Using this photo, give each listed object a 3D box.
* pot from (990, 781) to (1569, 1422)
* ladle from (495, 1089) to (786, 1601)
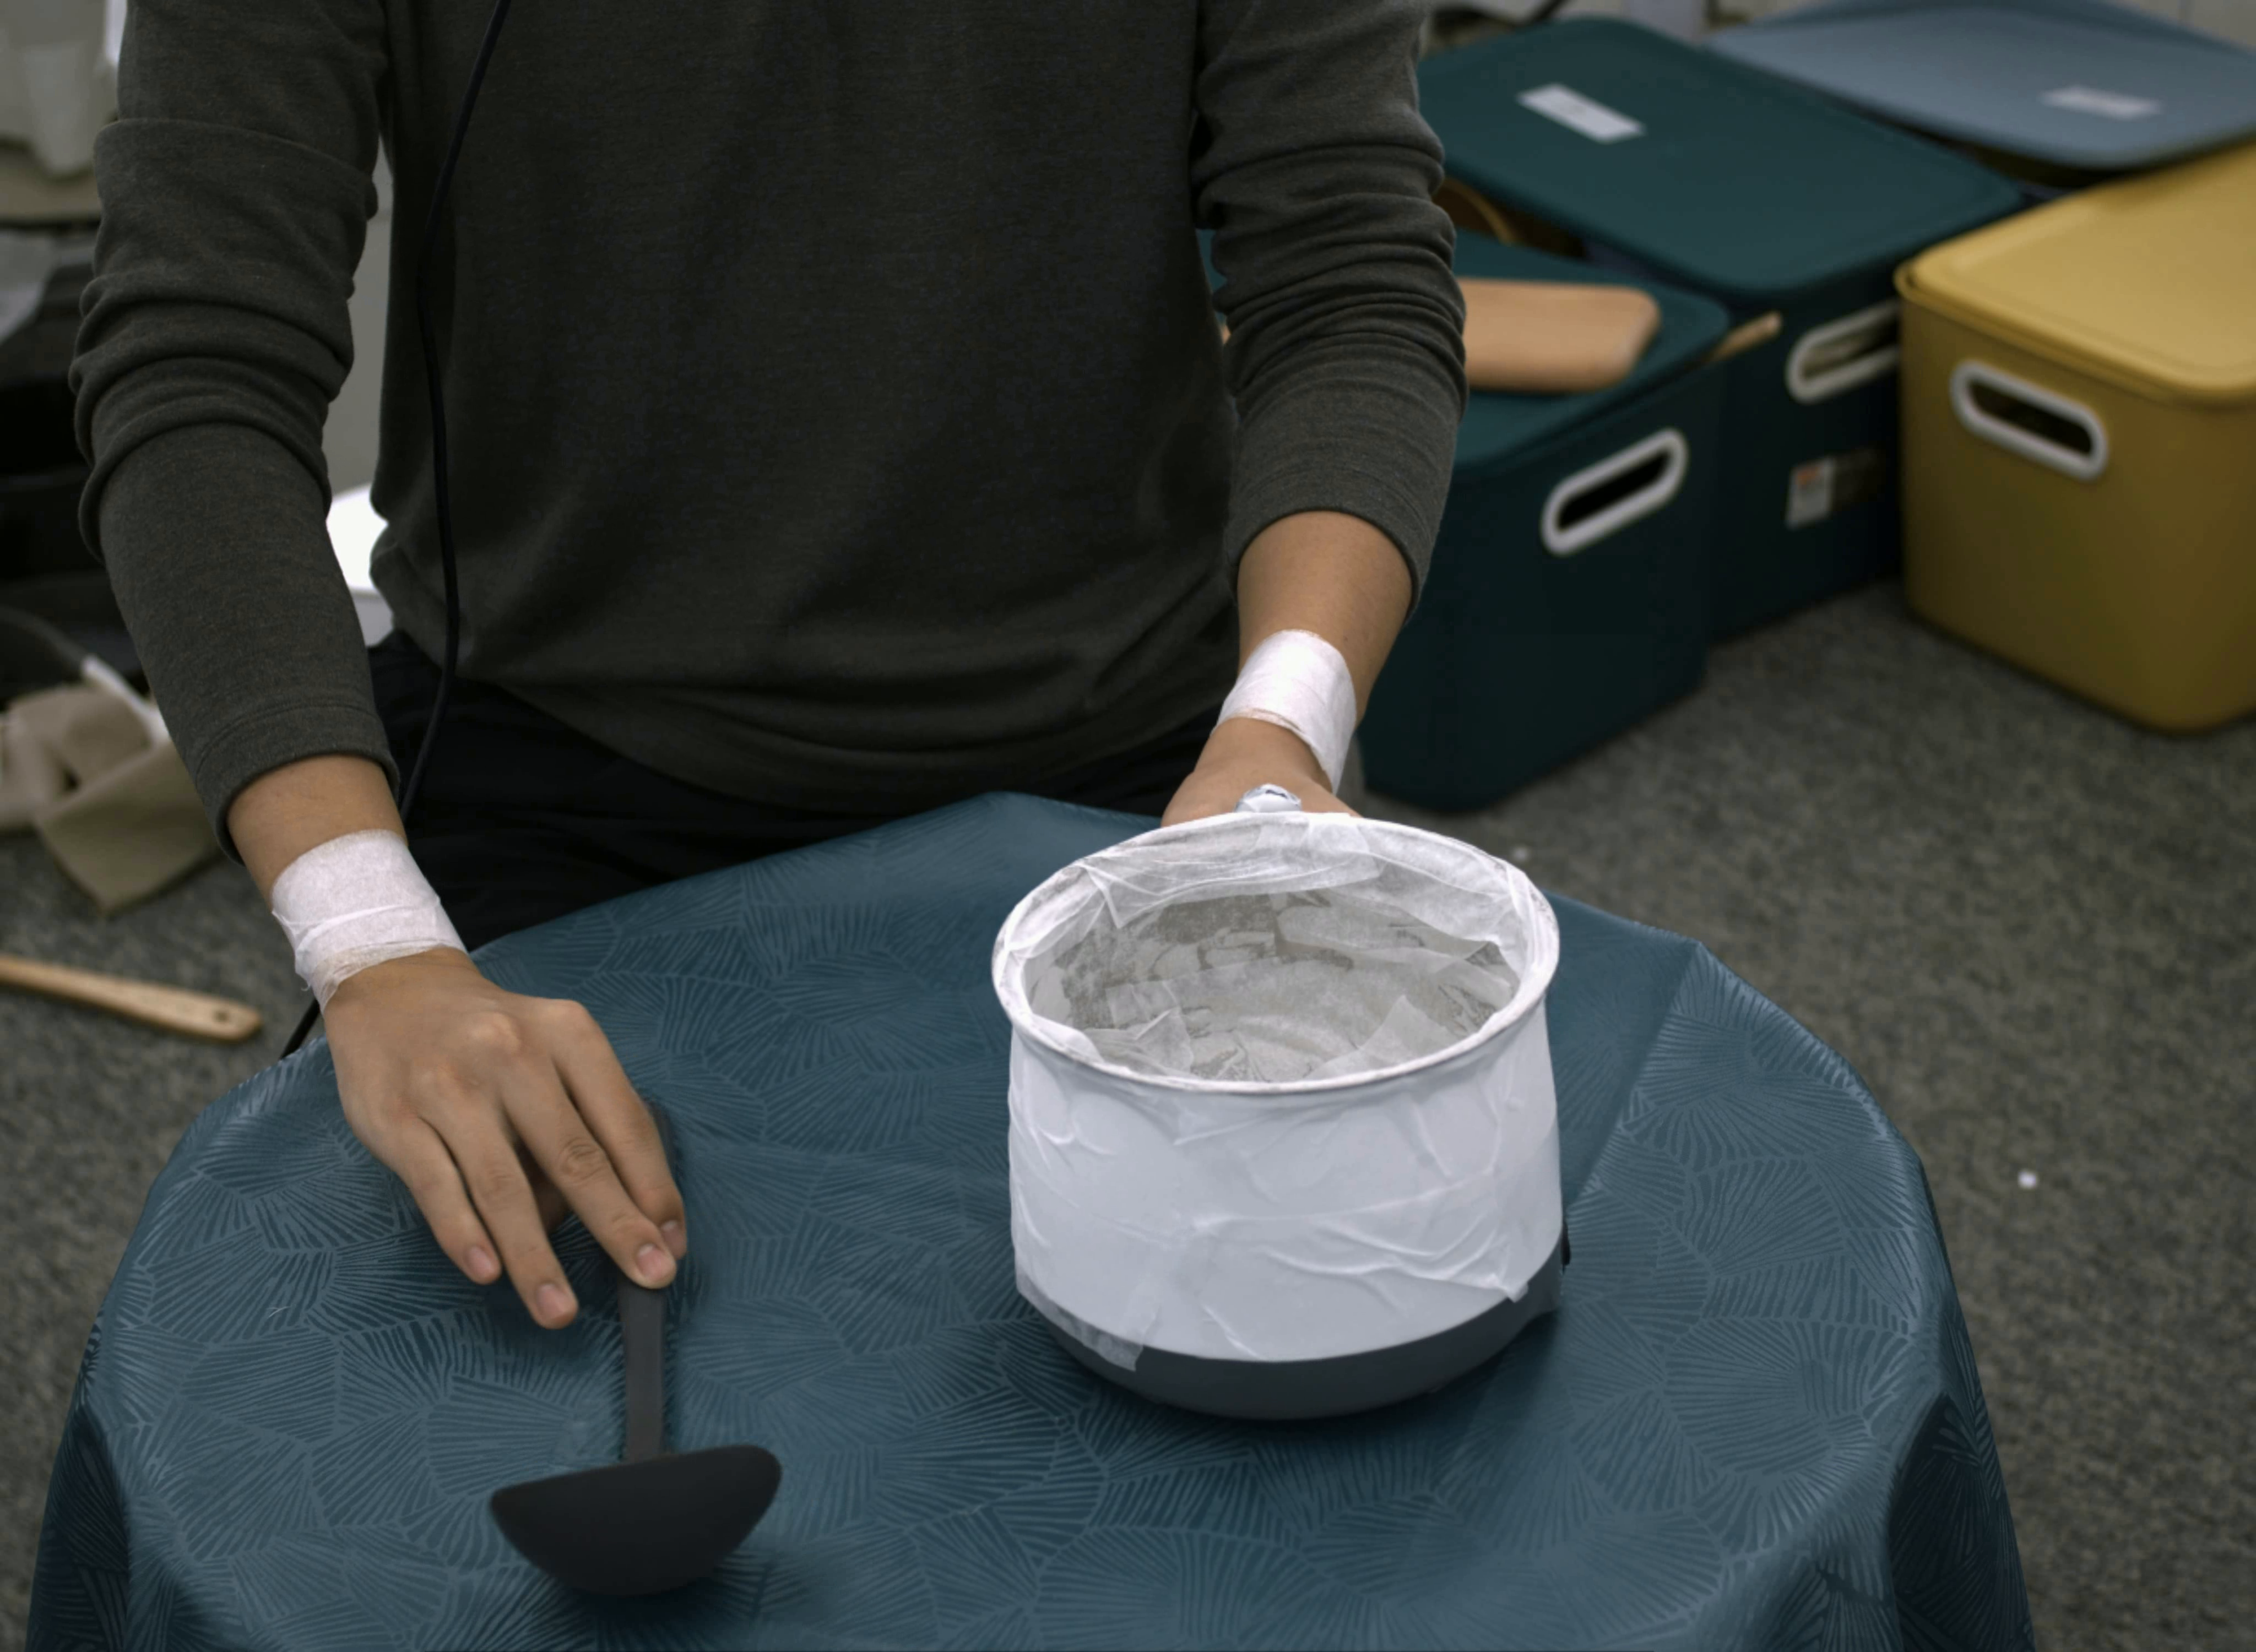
[{"bbox_3d":[0.048,0.080,1.791,0.178,0.135,0.237,-3,27,0],"label":"pot"},{"bbox_3d":[-0.155,0.144,1.764,0.086,0.063,0.318,-2,27,-5],"label":"ladle"}]
